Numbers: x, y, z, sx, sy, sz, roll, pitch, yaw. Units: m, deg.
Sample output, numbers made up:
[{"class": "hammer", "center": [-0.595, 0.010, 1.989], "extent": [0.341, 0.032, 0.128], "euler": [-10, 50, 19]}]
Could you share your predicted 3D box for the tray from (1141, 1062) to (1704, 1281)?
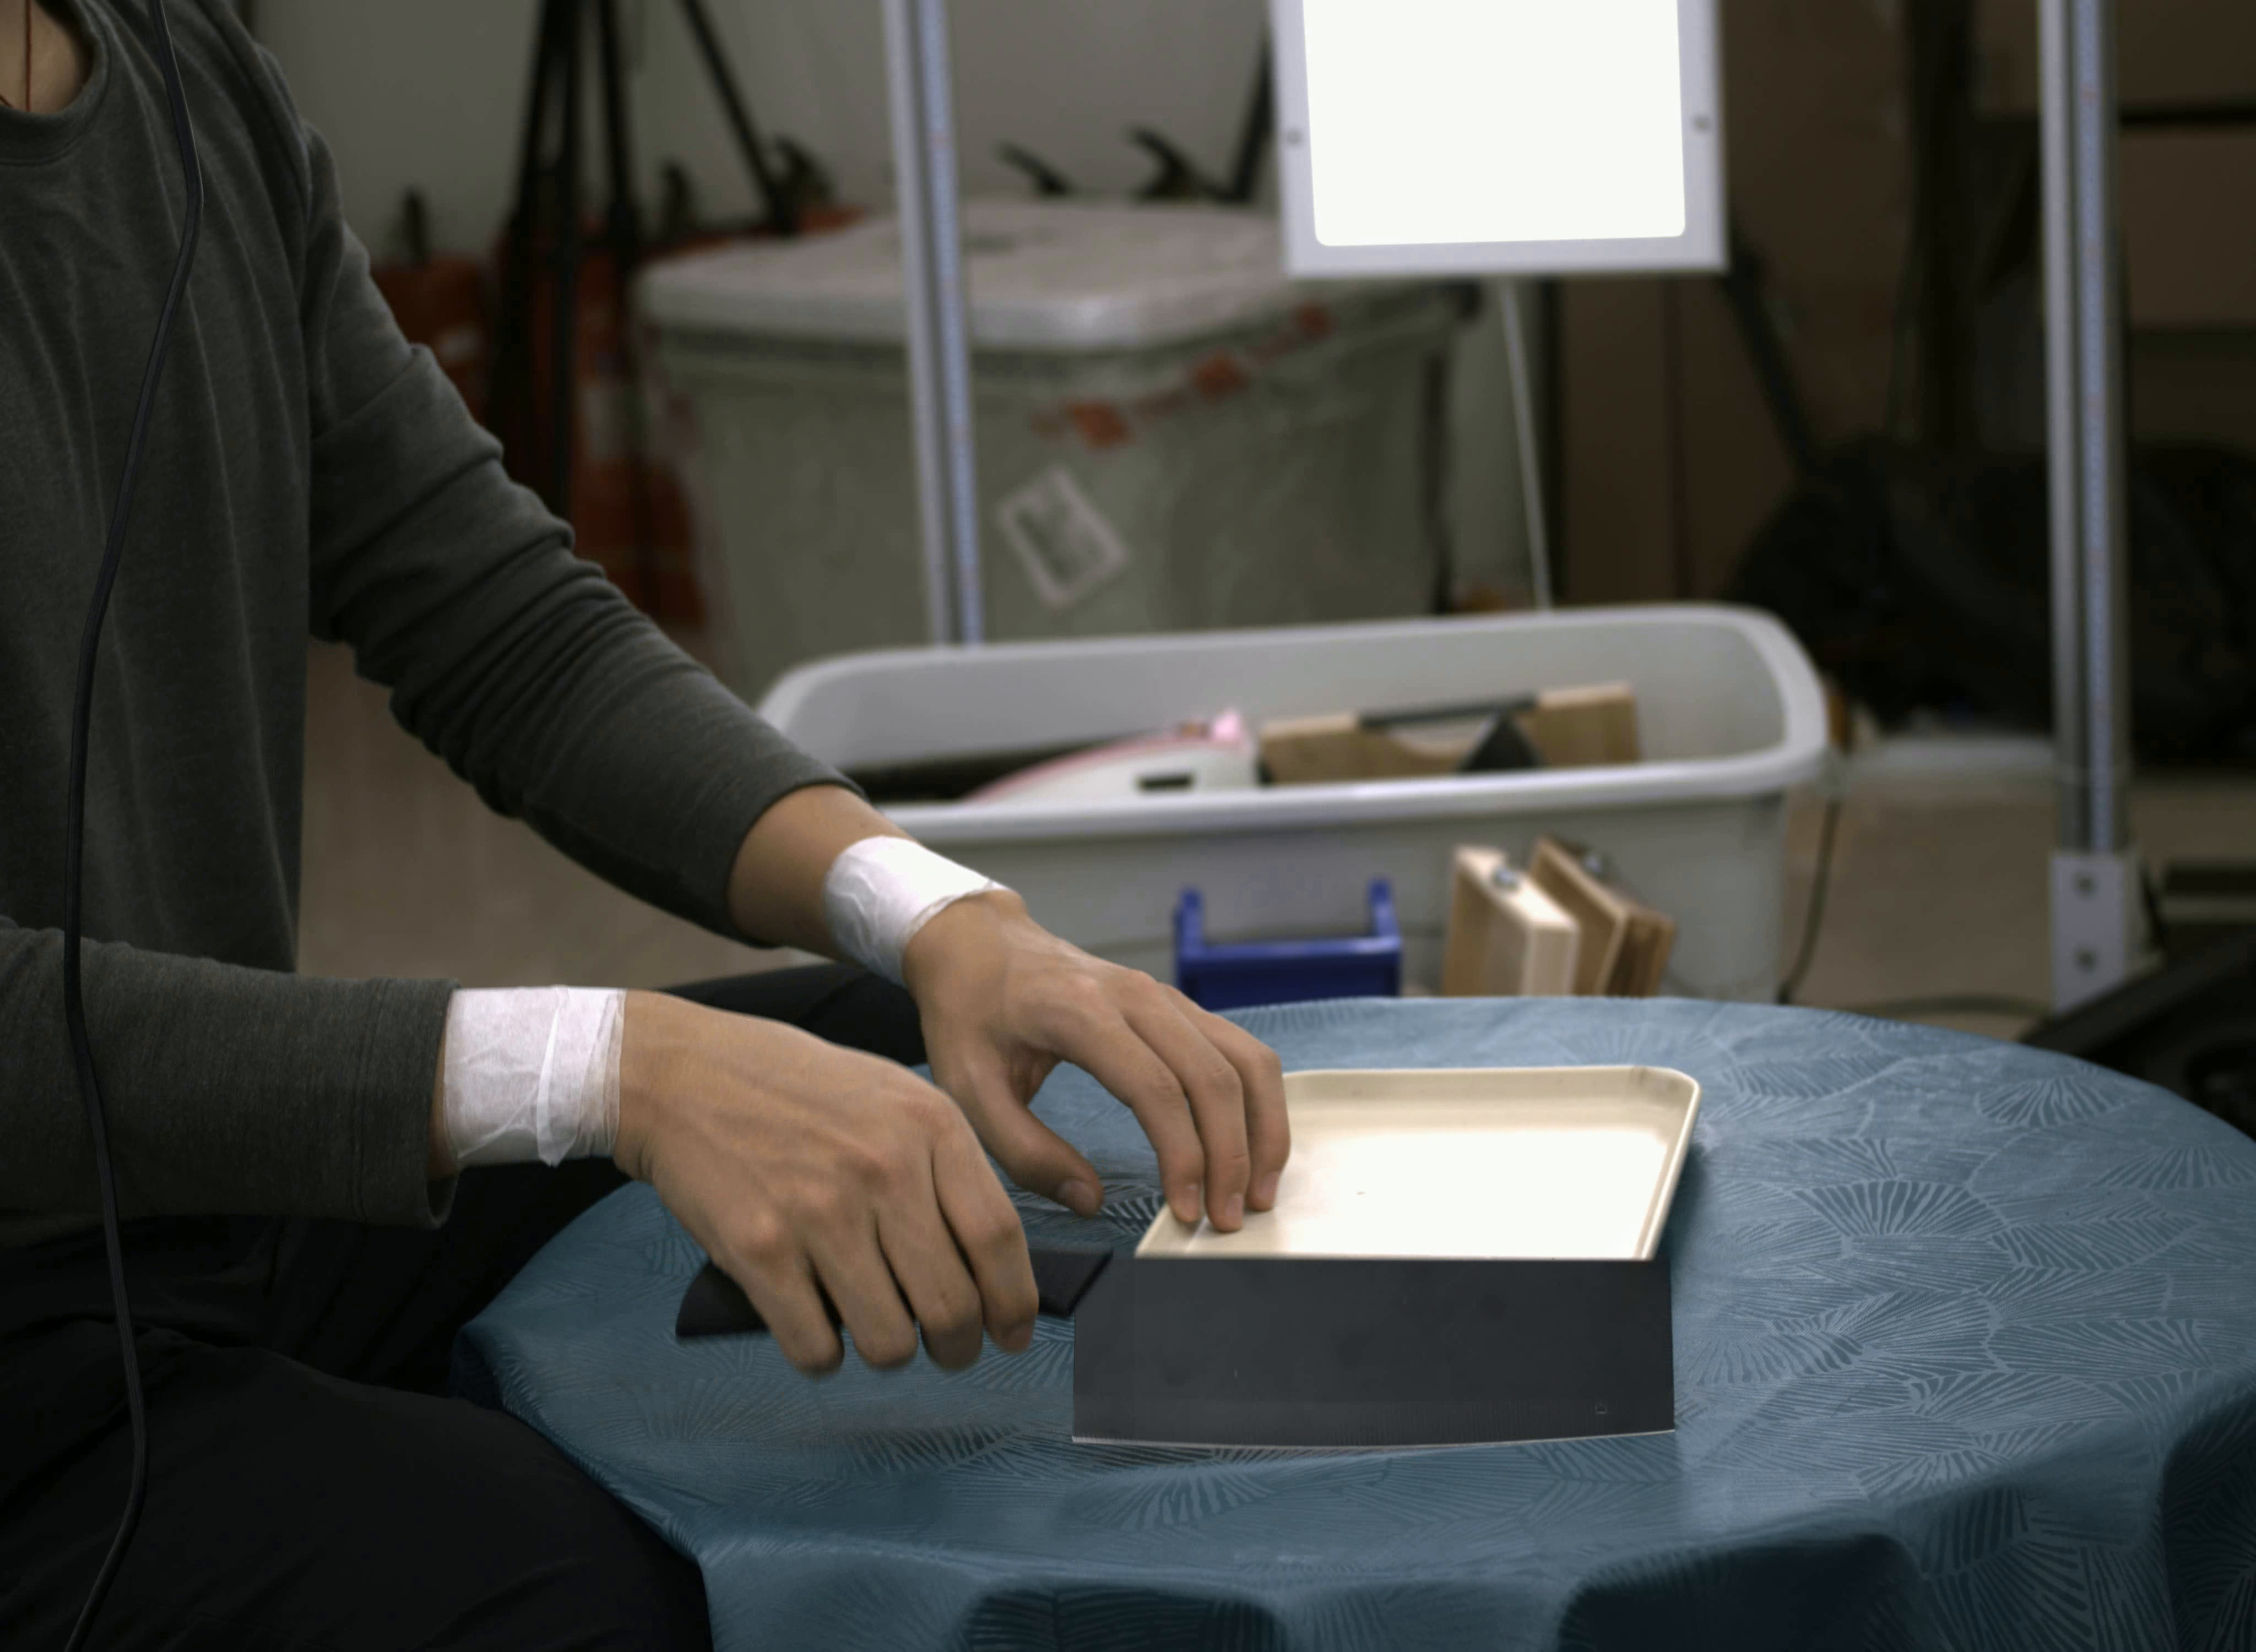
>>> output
[{"class": "tray", "center": [0.103, 0.122, 1.845], "extent": [0.172, 0.017, 0.237], "euler": [-3, 14, 12]}]

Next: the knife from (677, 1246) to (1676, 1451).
[{"class": "knife", "center": [0.015, 0.156, 1.659], "extent": [0.303, 0.021, 0.080], "euler": [2, 49, 7]}]
